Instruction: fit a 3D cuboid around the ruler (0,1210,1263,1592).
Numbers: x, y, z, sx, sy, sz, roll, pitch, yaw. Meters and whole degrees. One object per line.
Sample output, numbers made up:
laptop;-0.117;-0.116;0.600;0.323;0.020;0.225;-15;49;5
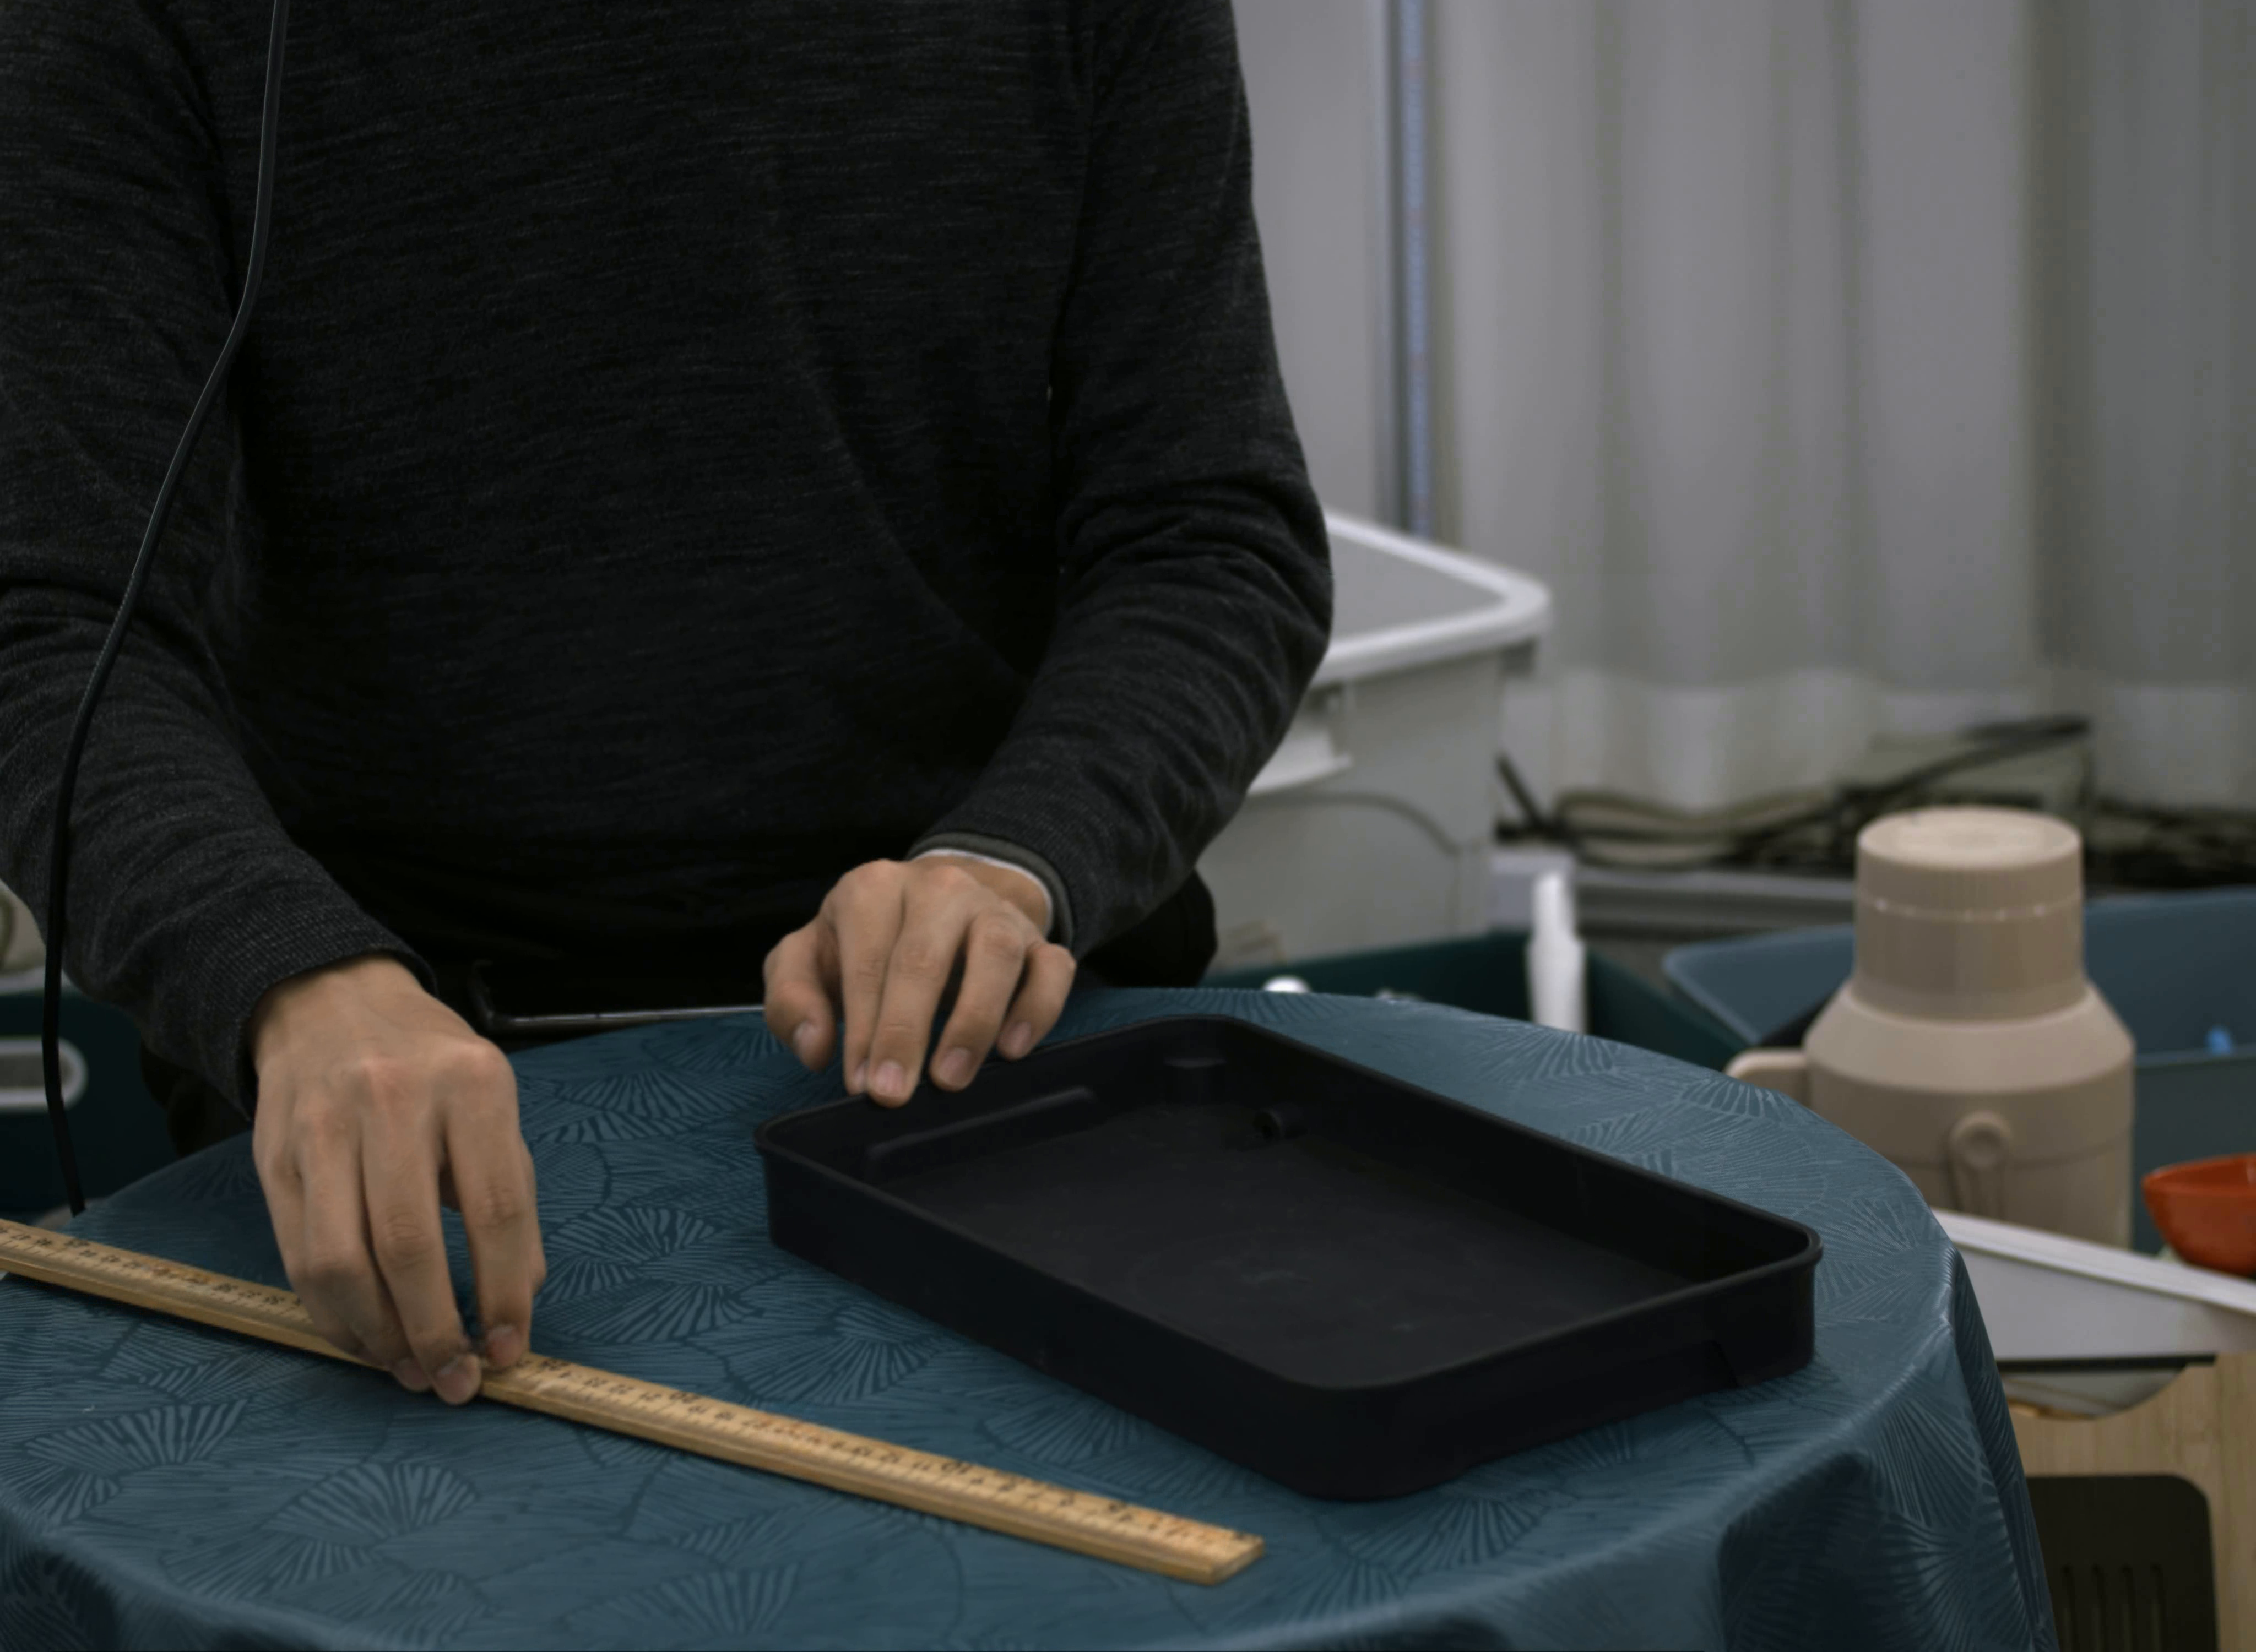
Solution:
ruler;-0.168;0.158;1.561;0.502;0.006;0.027;9;25;37

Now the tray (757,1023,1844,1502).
tray;0.044;0.122;1.608;0.183;0.037;0.320;-13;17;-34
